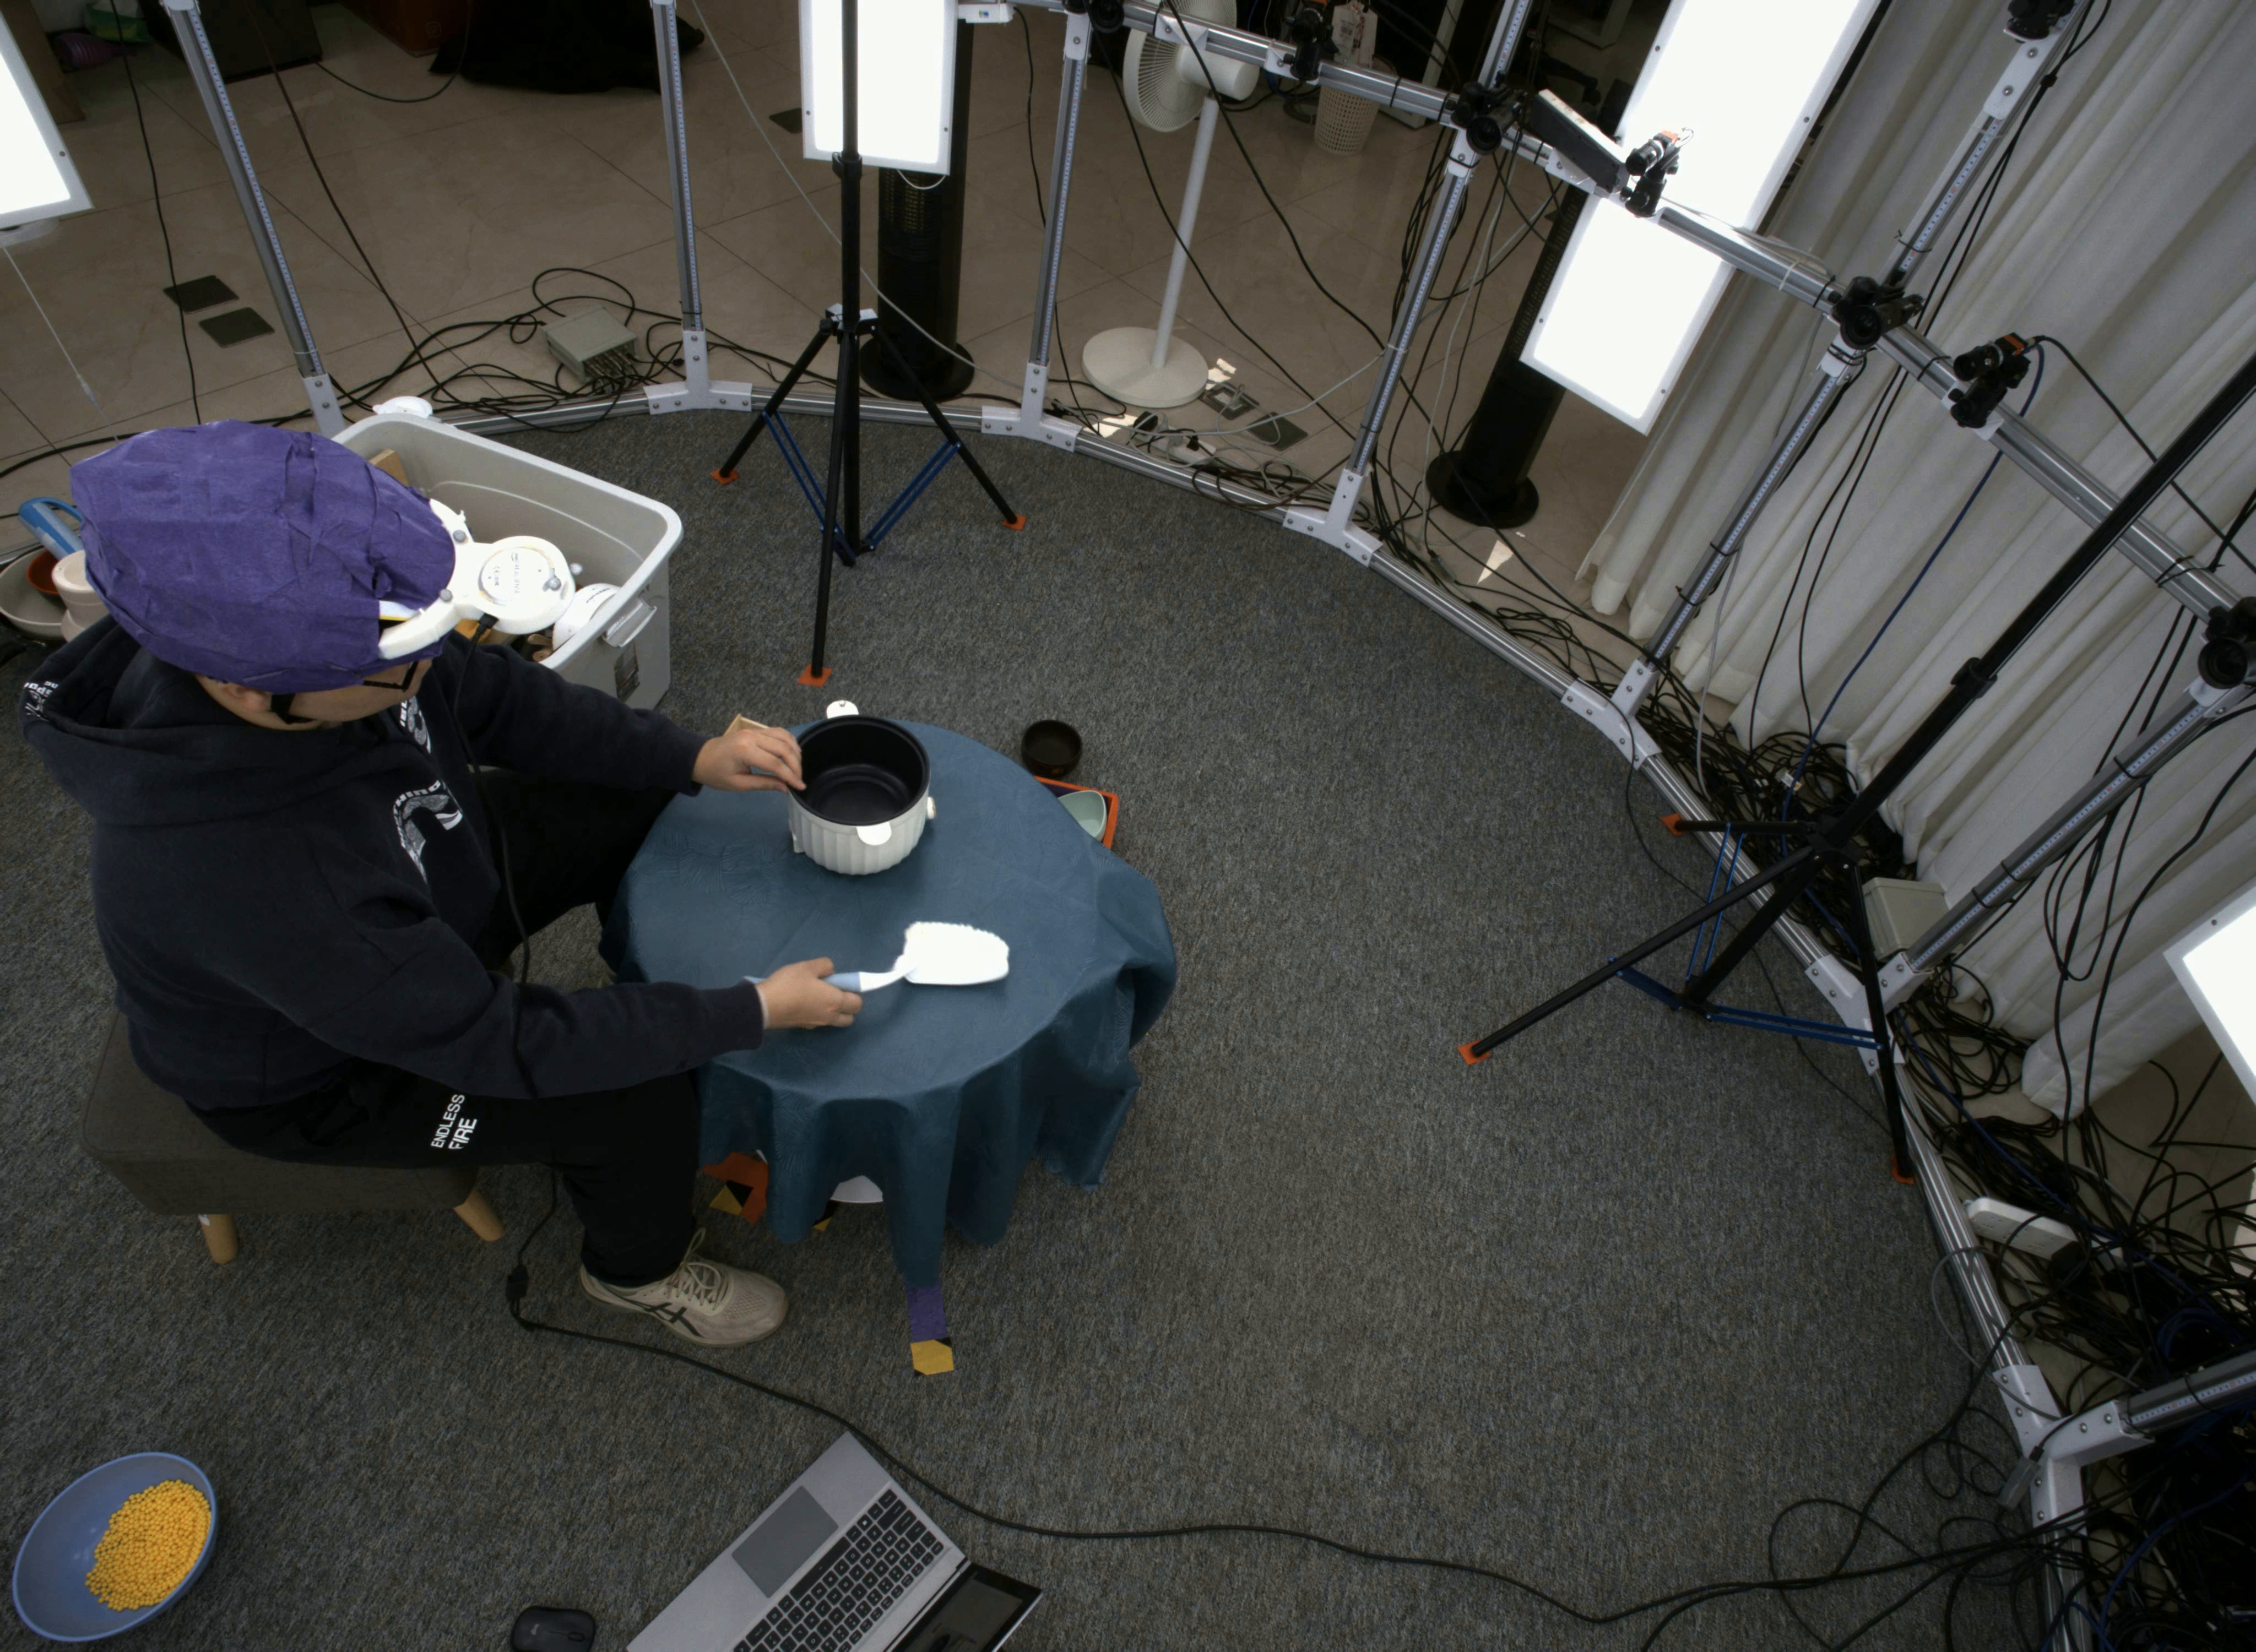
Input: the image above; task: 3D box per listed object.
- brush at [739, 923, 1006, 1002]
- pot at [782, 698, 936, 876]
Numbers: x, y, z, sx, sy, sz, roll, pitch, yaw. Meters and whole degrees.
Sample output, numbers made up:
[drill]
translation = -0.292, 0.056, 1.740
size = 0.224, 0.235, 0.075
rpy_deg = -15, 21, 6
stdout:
[brush]
translation = -0.305, 0.159, 1.569
size = 0.328, 0.083, 0.084
rpy_deg = -1, 88, -23
[pot]
translation = -0.344, -0.037, 1.678
size = 0.191, 0.146, 0.234
rpy_deg = -12, 58, -17
